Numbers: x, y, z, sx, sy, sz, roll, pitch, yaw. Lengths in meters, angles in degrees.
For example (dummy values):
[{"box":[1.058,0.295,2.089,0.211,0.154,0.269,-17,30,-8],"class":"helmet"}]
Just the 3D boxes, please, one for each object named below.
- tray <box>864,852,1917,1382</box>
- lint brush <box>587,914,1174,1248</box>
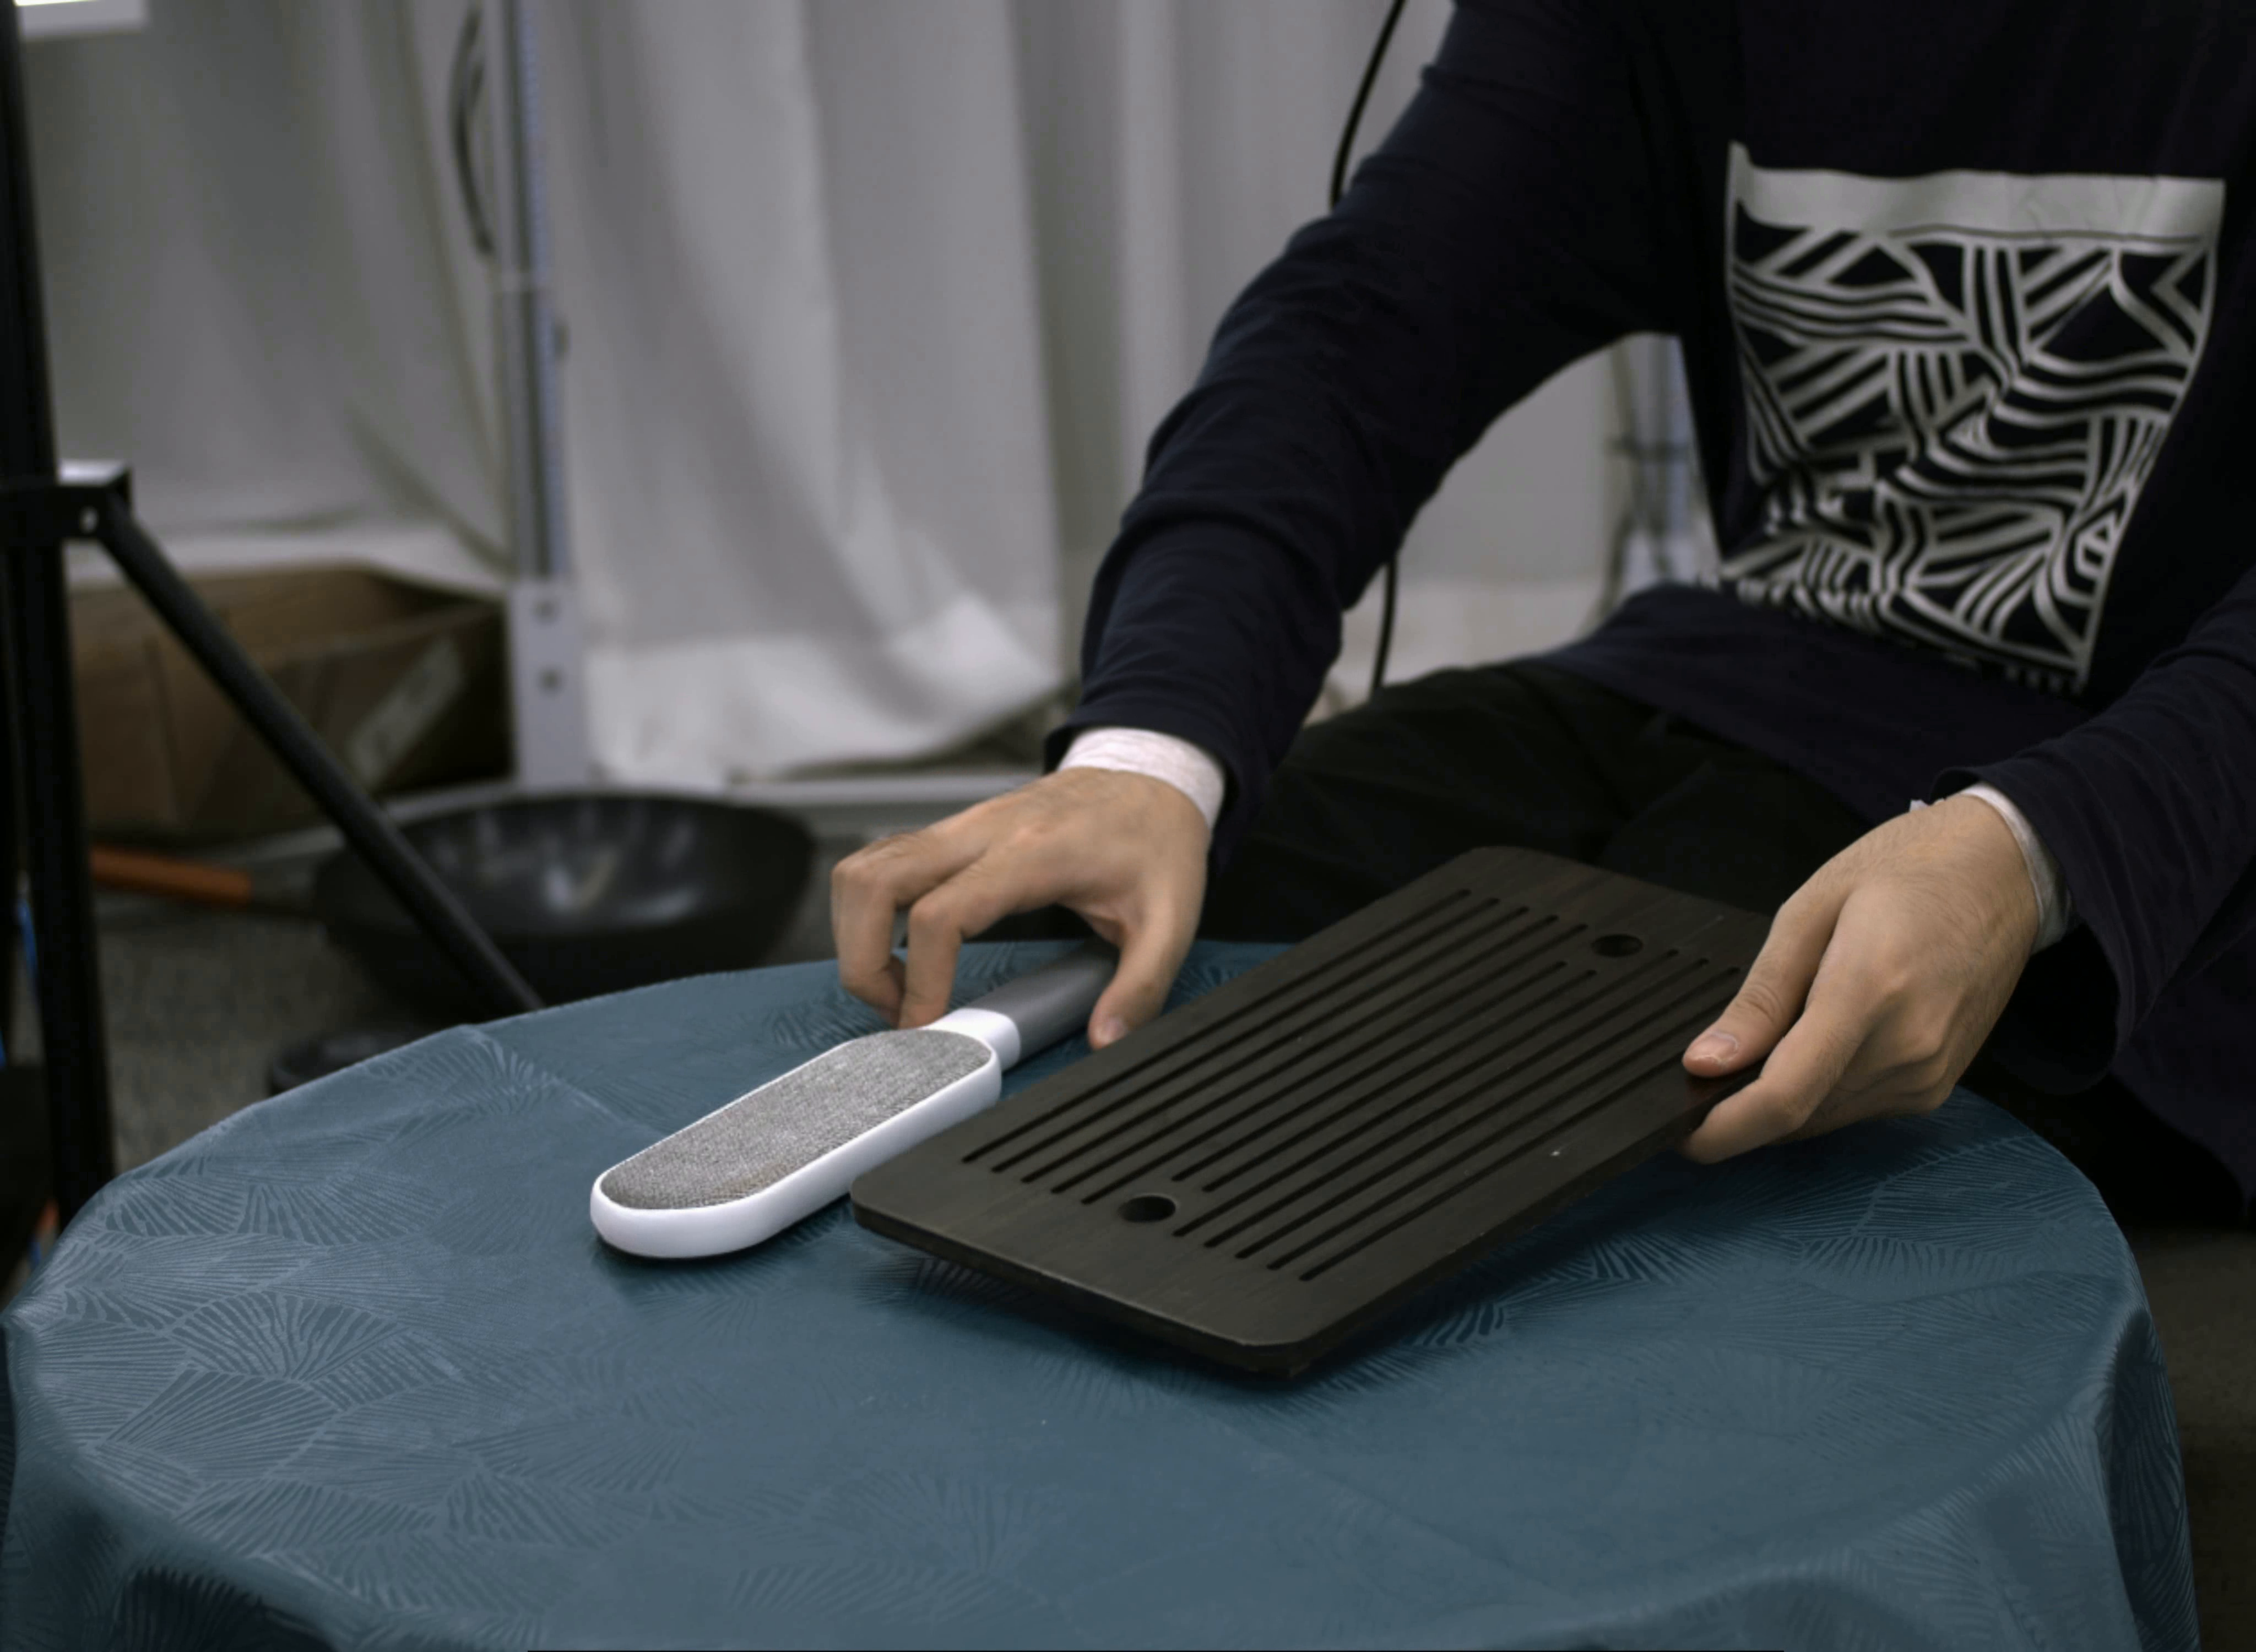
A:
[{"box":[0.082,0.081,1.547,0.174,0.018,0.300,15,29,40],"class":"tray"},{"box":[-0.066,0.075,1.639,0.061,0.021,0.303,1,15,31],"class":"lint brush"}]
